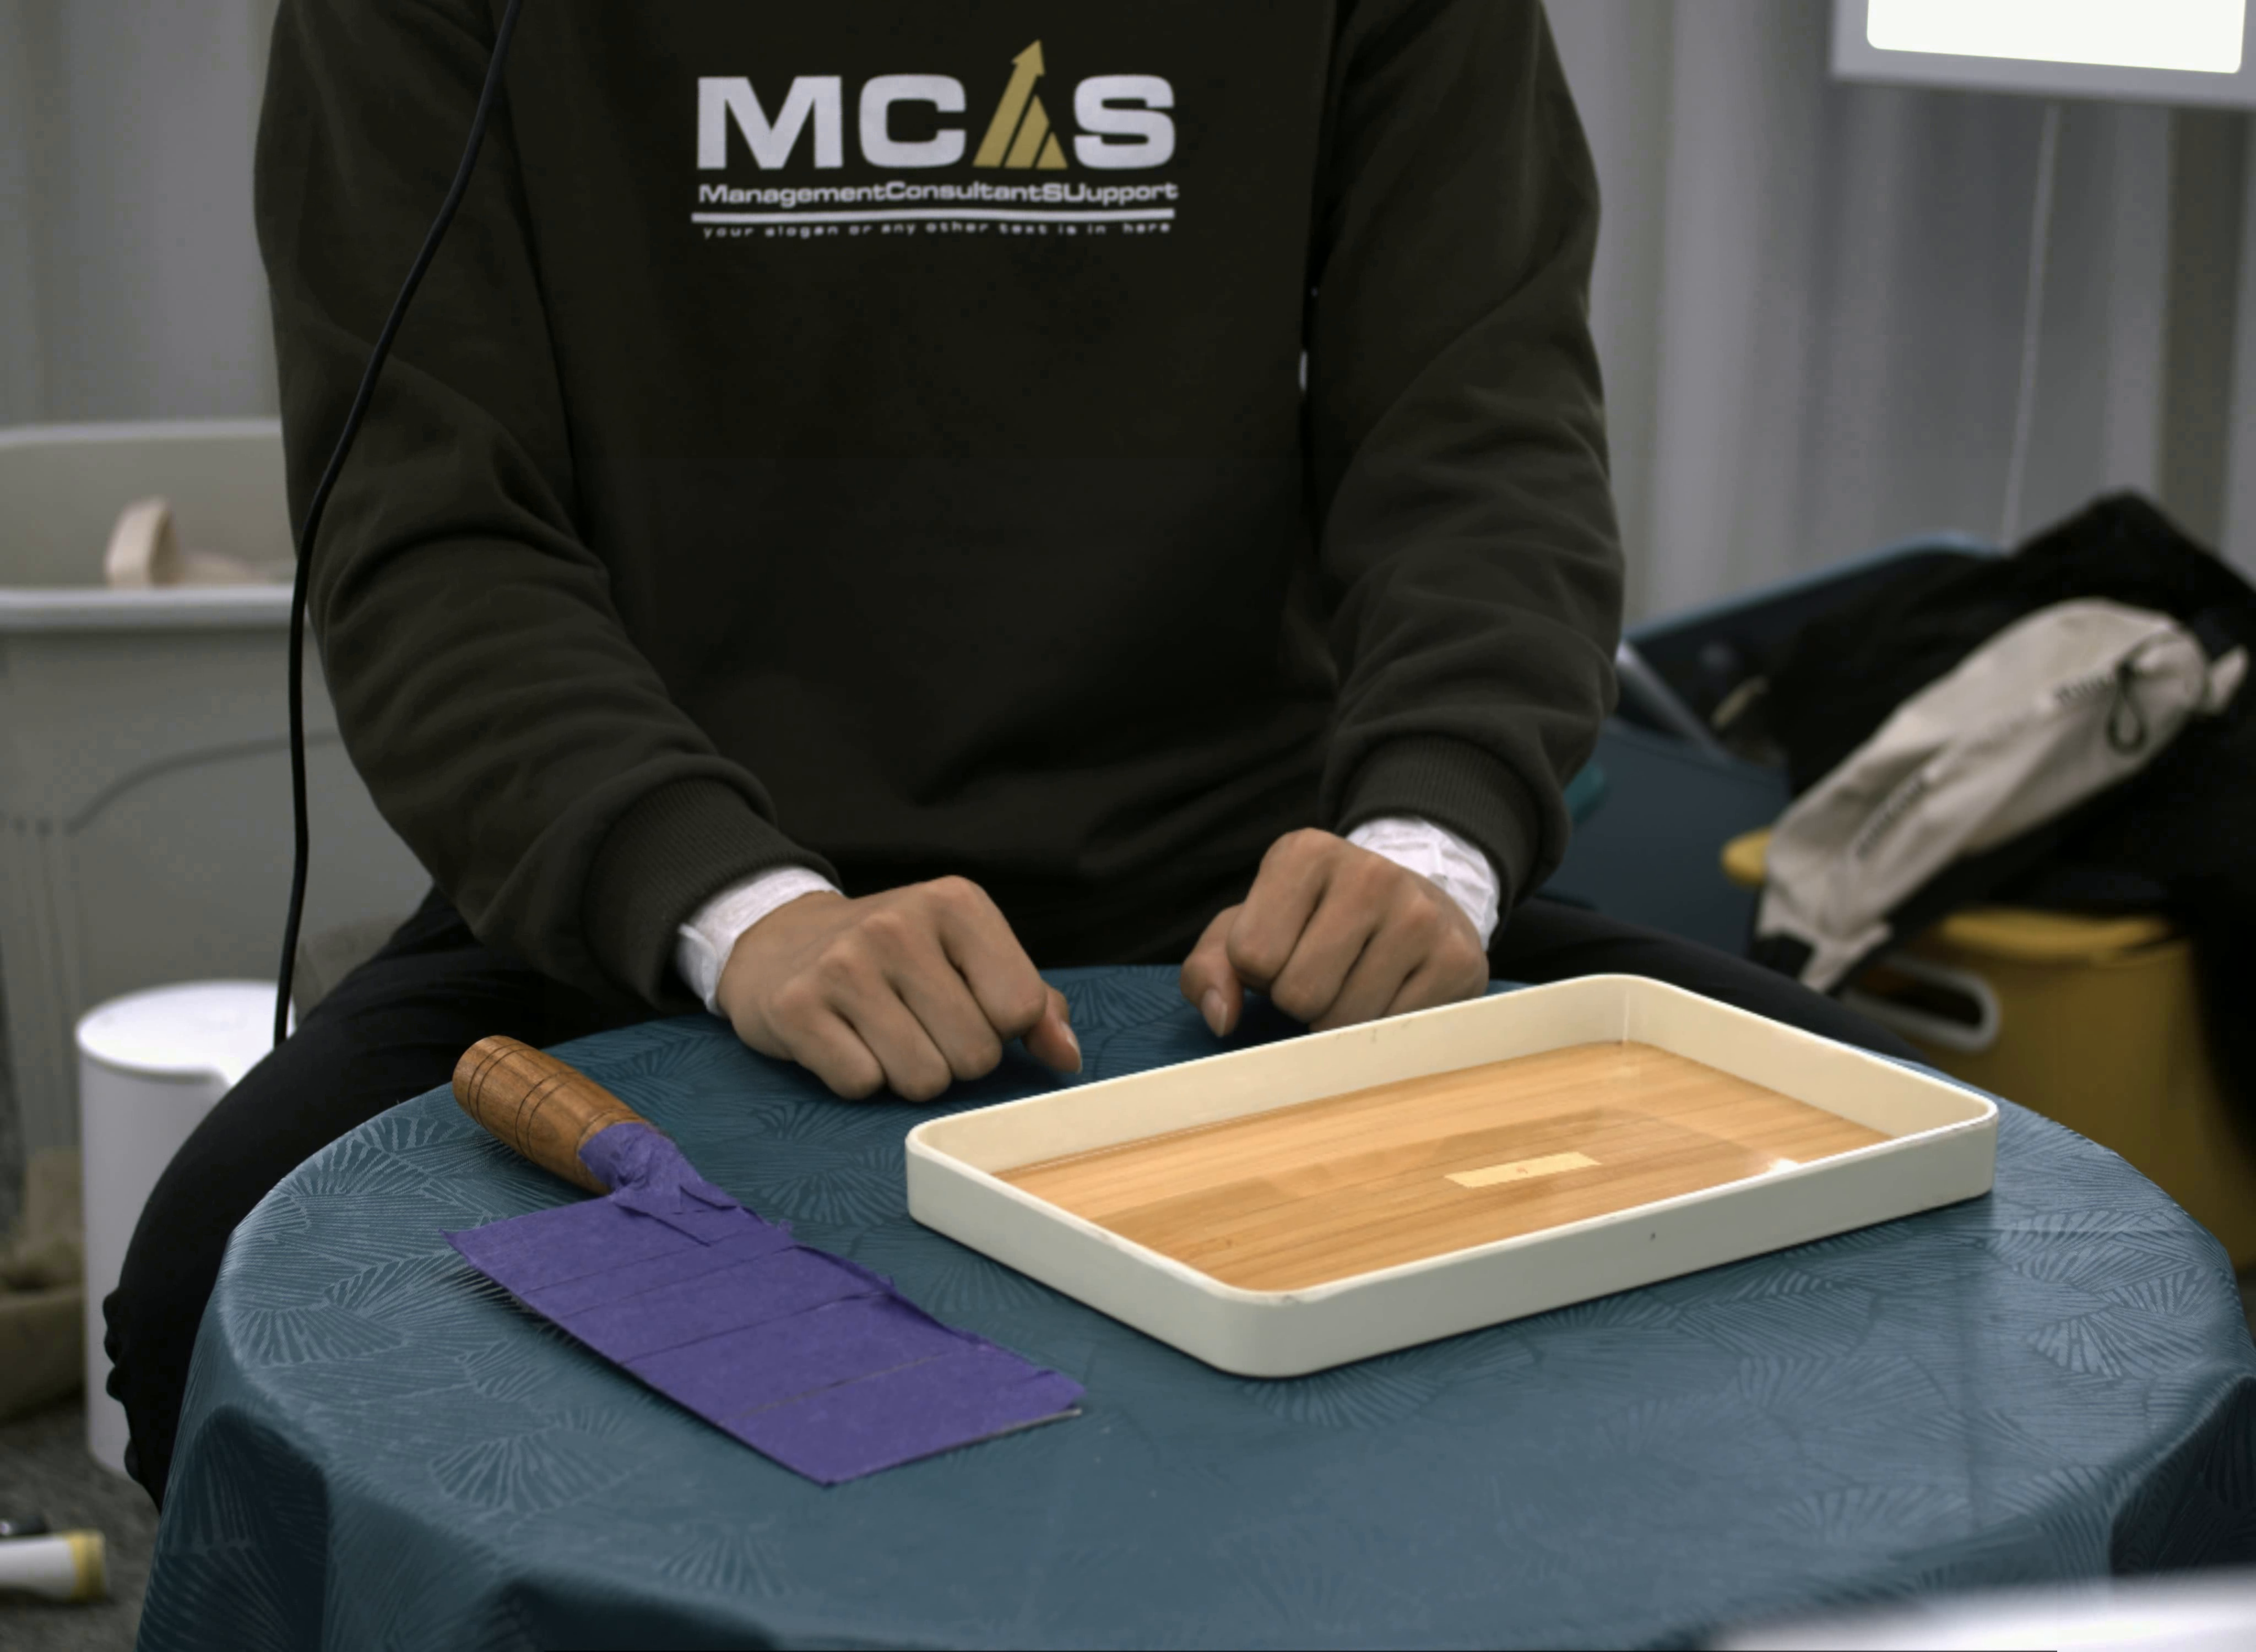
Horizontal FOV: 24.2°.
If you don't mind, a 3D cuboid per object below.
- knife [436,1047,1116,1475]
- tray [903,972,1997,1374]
[{"bbox_3d":[-0.136,0.123,1.531,0.104,0.032,0.311,-11,19,-37],"label":"knife"},{"bbox_3d":[0.100,0.102,1.616,0.302,0.027,0.189,-11,18,-35],"label":"tray"}]
